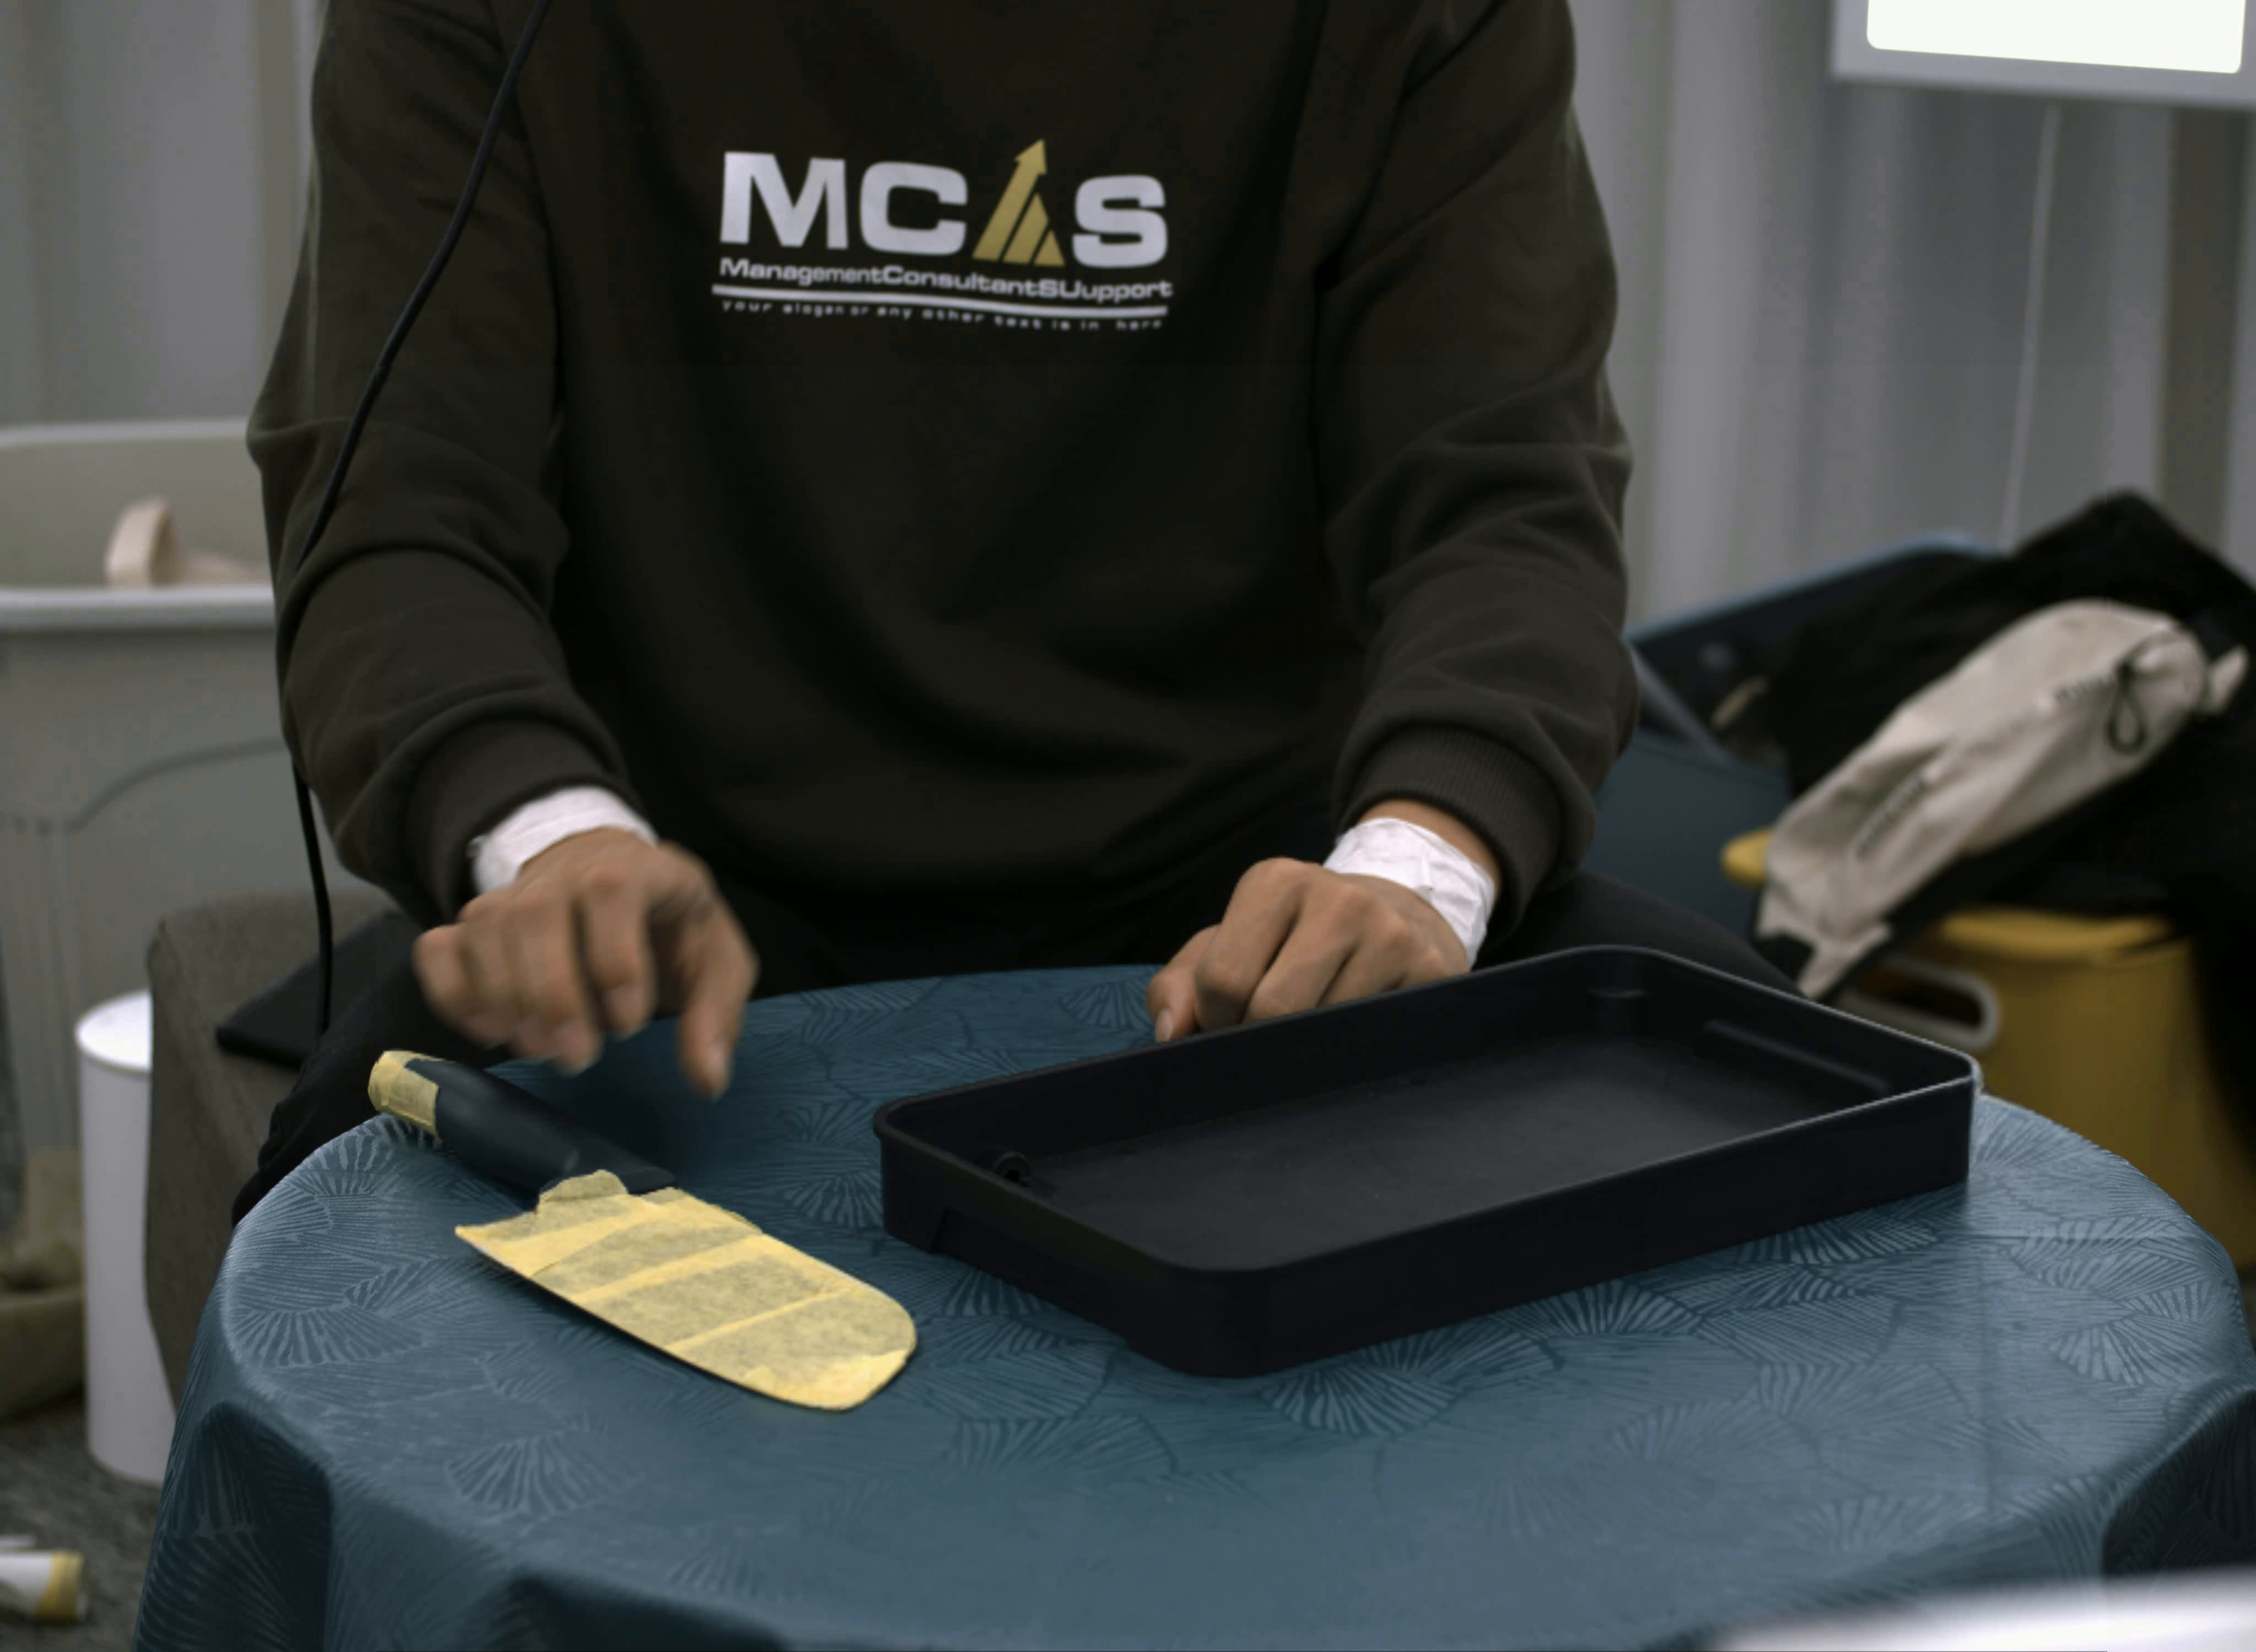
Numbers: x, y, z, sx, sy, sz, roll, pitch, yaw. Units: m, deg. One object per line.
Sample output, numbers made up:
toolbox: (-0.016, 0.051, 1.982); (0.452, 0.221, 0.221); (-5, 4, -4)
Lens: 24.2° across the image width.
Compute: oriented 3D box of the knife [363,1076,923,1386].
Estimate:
knife: (-0.156, 0.121, 1.561); (0.081, 0.027, 0.285); (-10, 19, -37)

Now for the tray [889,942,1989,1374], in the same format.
tray: (0.098, 0.096, 1.620); (0.319, 0.037, 0.182); (-12, 19, -38)
